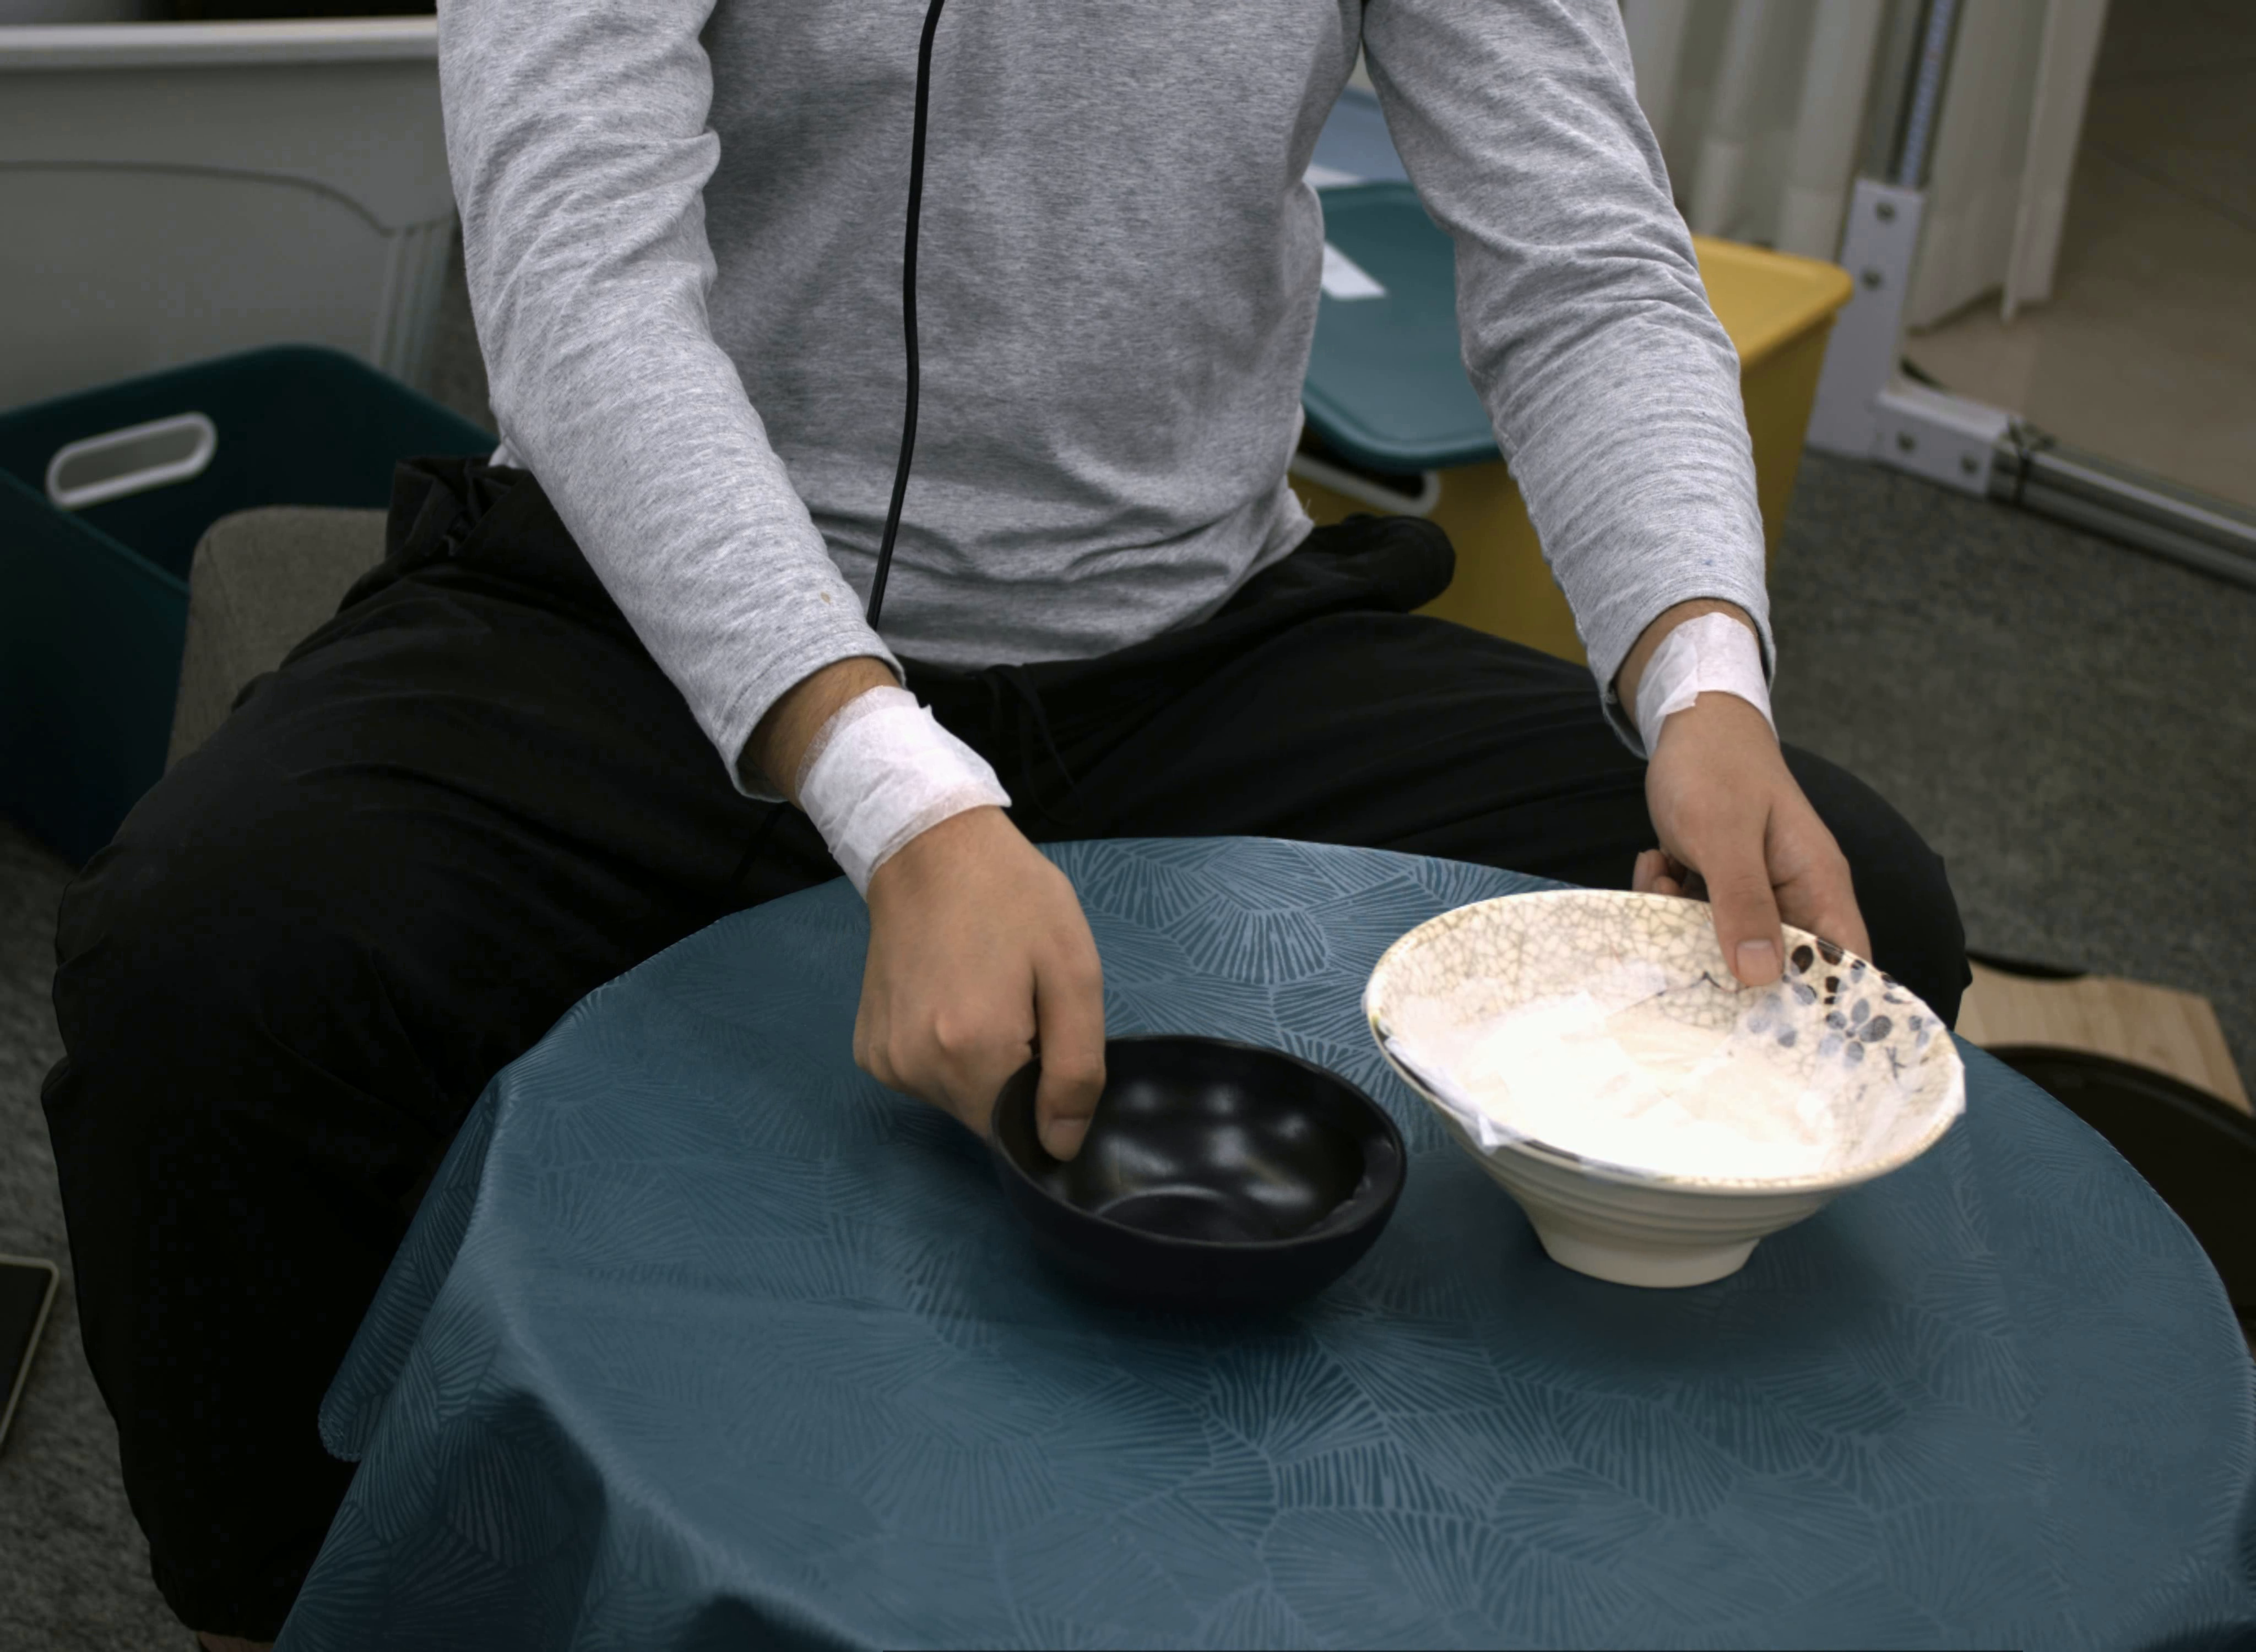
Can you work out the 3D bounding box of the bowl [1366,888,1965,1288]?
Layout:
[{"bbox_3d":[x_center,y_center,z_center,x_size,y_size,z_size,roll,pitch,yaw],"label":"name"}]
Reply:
[{"bbox_3d":[0.176,0.102,1.803,0.203,0.078,0.205,6,26,-3],"label":"bowl"}]

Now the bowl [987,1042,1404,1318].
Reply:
[{"bbox_3d":[0.020,0.124,1.759,0.139,0.049,0.141,6,24,-3],"label":"bowl"}]
